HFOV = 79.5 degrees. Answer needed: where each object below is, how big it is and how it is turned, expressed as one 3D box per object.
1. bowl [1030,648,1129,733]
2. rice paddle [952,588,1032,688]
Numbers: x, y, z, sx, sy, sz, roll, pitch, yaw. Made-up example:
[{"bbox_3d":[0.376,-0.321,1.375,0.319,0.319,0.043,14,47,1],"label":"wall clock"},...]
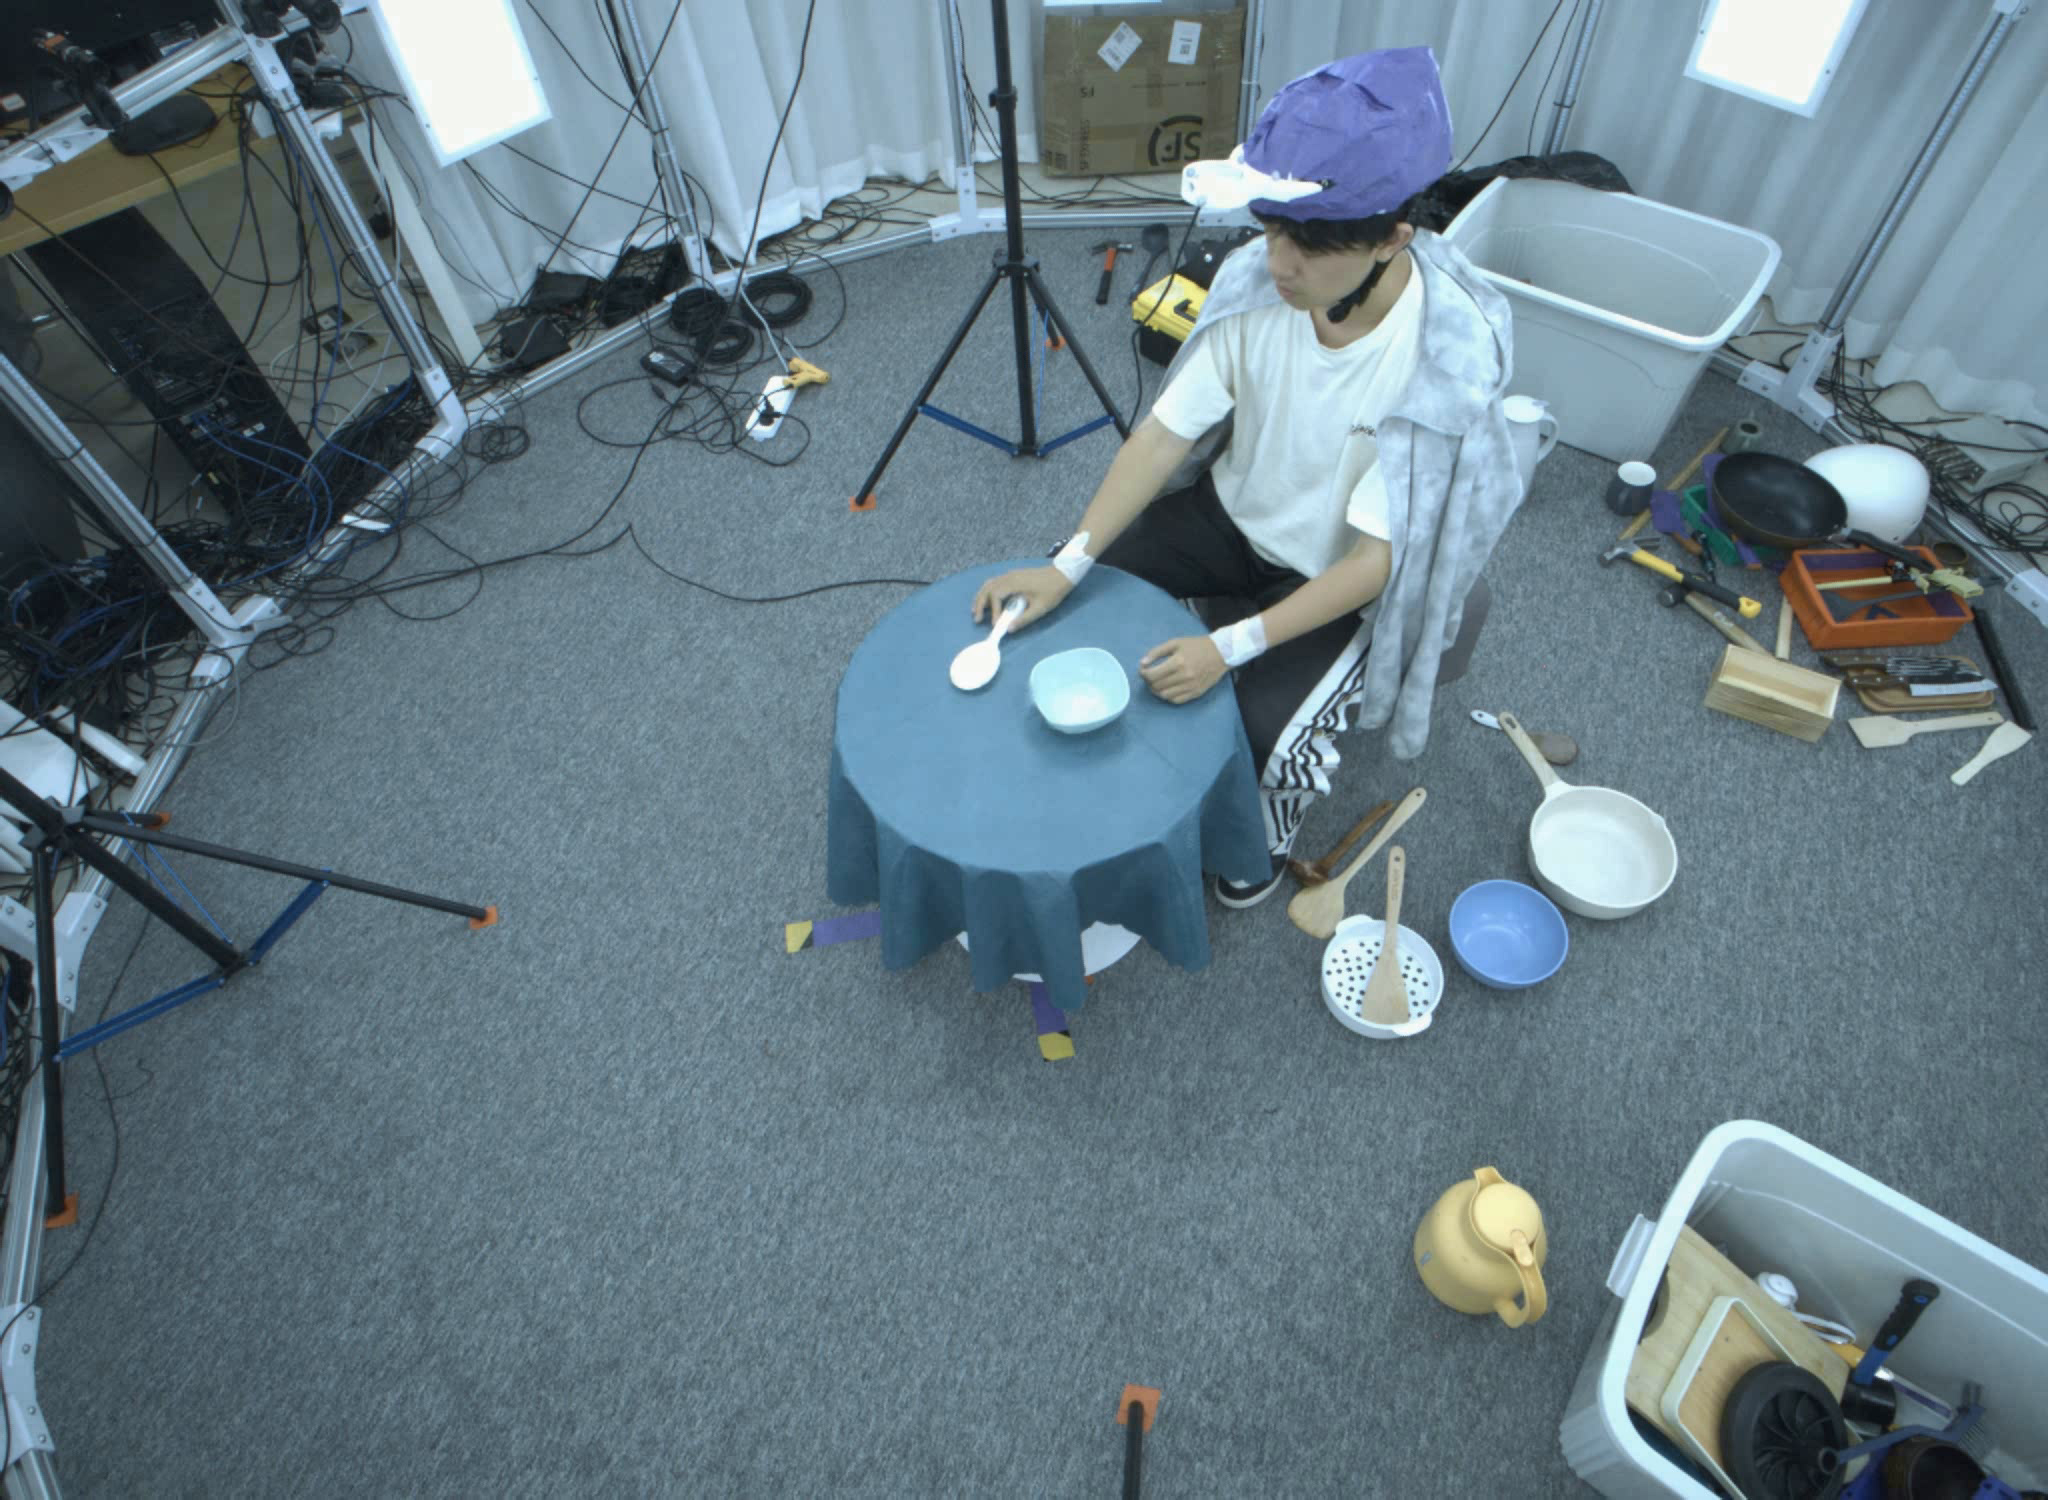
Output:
[{"bbox_3d":[0.083,-0.077,1.806,0.151,0.059,0.150,-2,55,4],"label":"bowl"},{"bbox_3d":[-0.047,-0.171,1.894,0.068,0.030,0.205,20,58,18],"label":"rice paddle"}]
